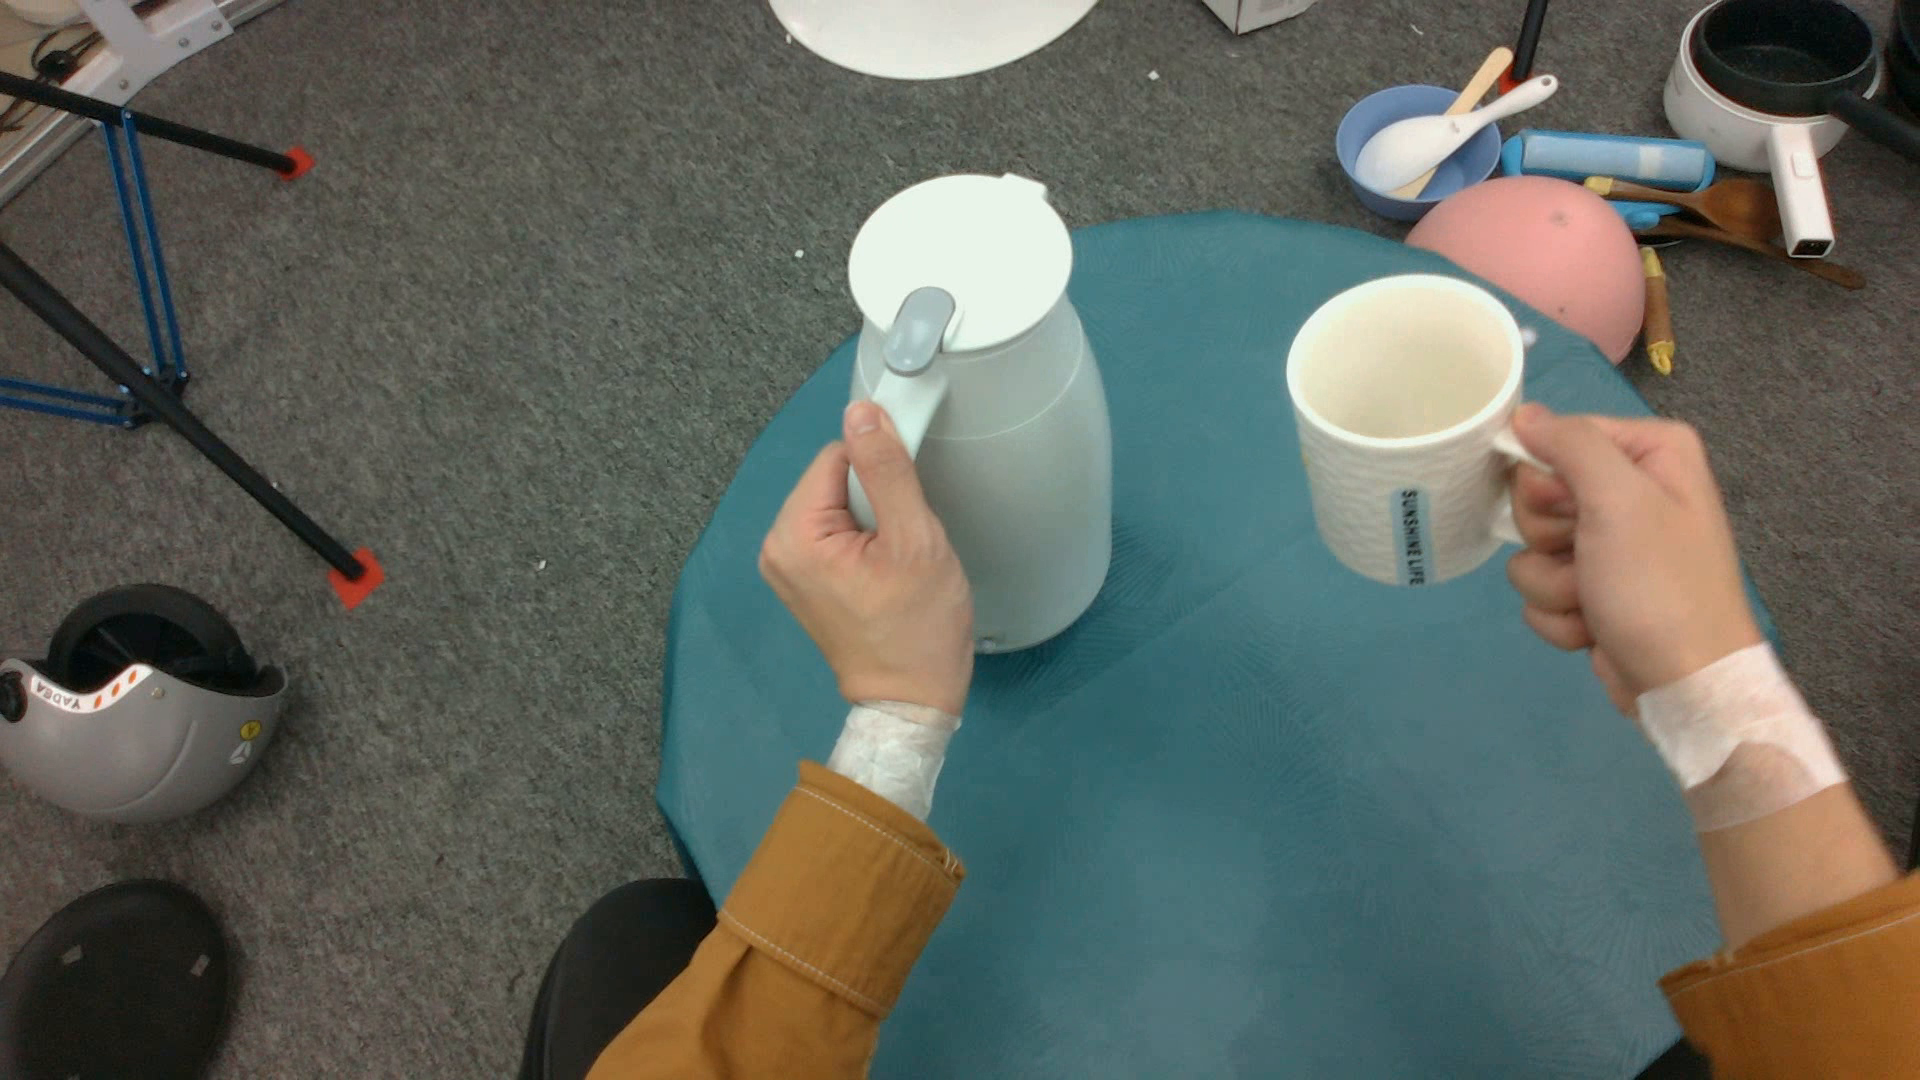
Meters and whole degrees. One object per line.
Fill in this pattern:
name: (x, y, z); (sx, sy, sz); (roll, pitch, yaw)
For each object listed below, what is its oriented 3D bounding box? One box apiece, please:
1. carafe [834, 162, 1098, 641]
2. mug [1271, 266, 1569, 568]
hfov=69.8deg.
carafe: (-0.005, -0.047, 0.652); (0.132, 0.247, 0.168); (20, 64, 14)
mug: (0.191, -0.042, 0.564); (0.118, 0.101, 0.085); (30, 71, 35)
